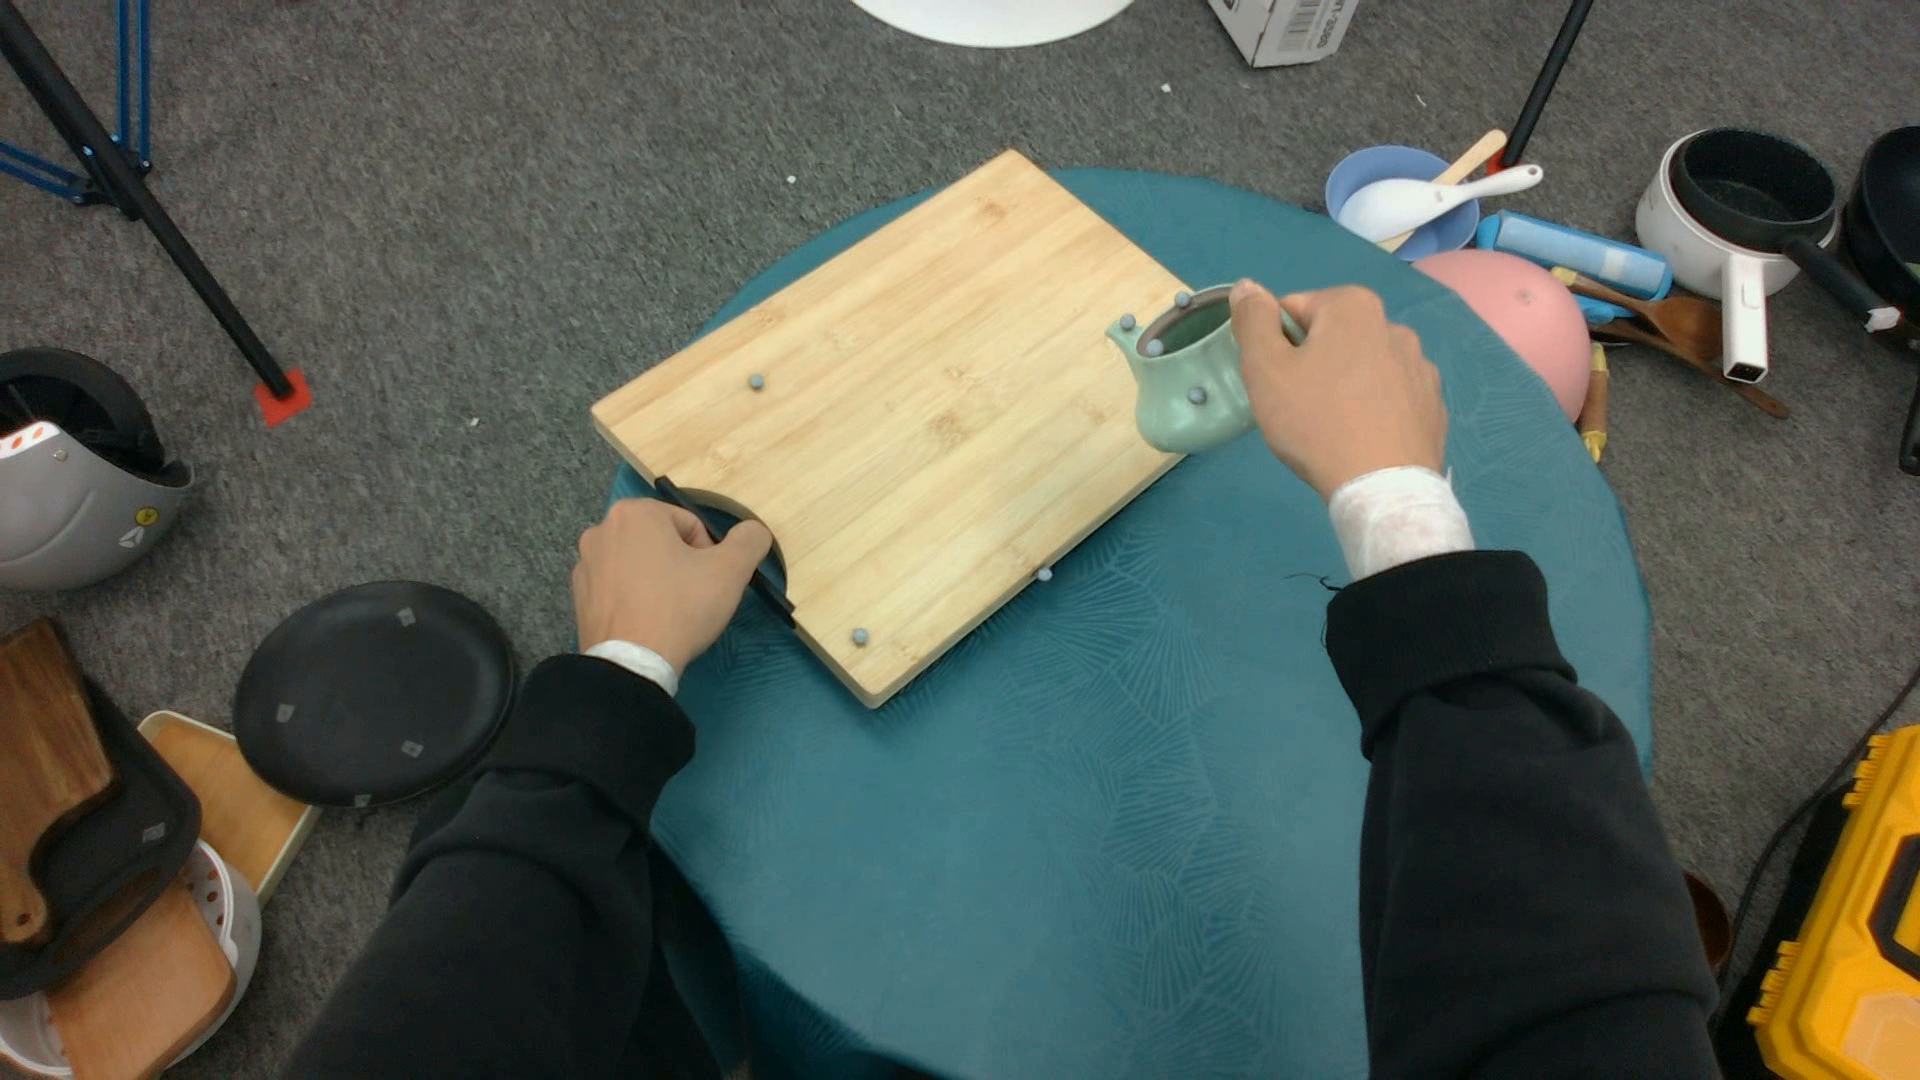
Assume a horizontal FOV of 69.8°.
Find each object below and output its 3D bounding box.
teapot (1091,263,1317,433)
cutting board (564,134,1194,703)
[{"bbox_3d":[0.124,-0.096,0.676,0.096,0.136,0.061,-46,115,-22],"label":"teapot"},{"bbox_3d":[-0.015,-0.092,0.812,0.251,0.023,0.350,41,63,18],"label":"cutting board"}]
